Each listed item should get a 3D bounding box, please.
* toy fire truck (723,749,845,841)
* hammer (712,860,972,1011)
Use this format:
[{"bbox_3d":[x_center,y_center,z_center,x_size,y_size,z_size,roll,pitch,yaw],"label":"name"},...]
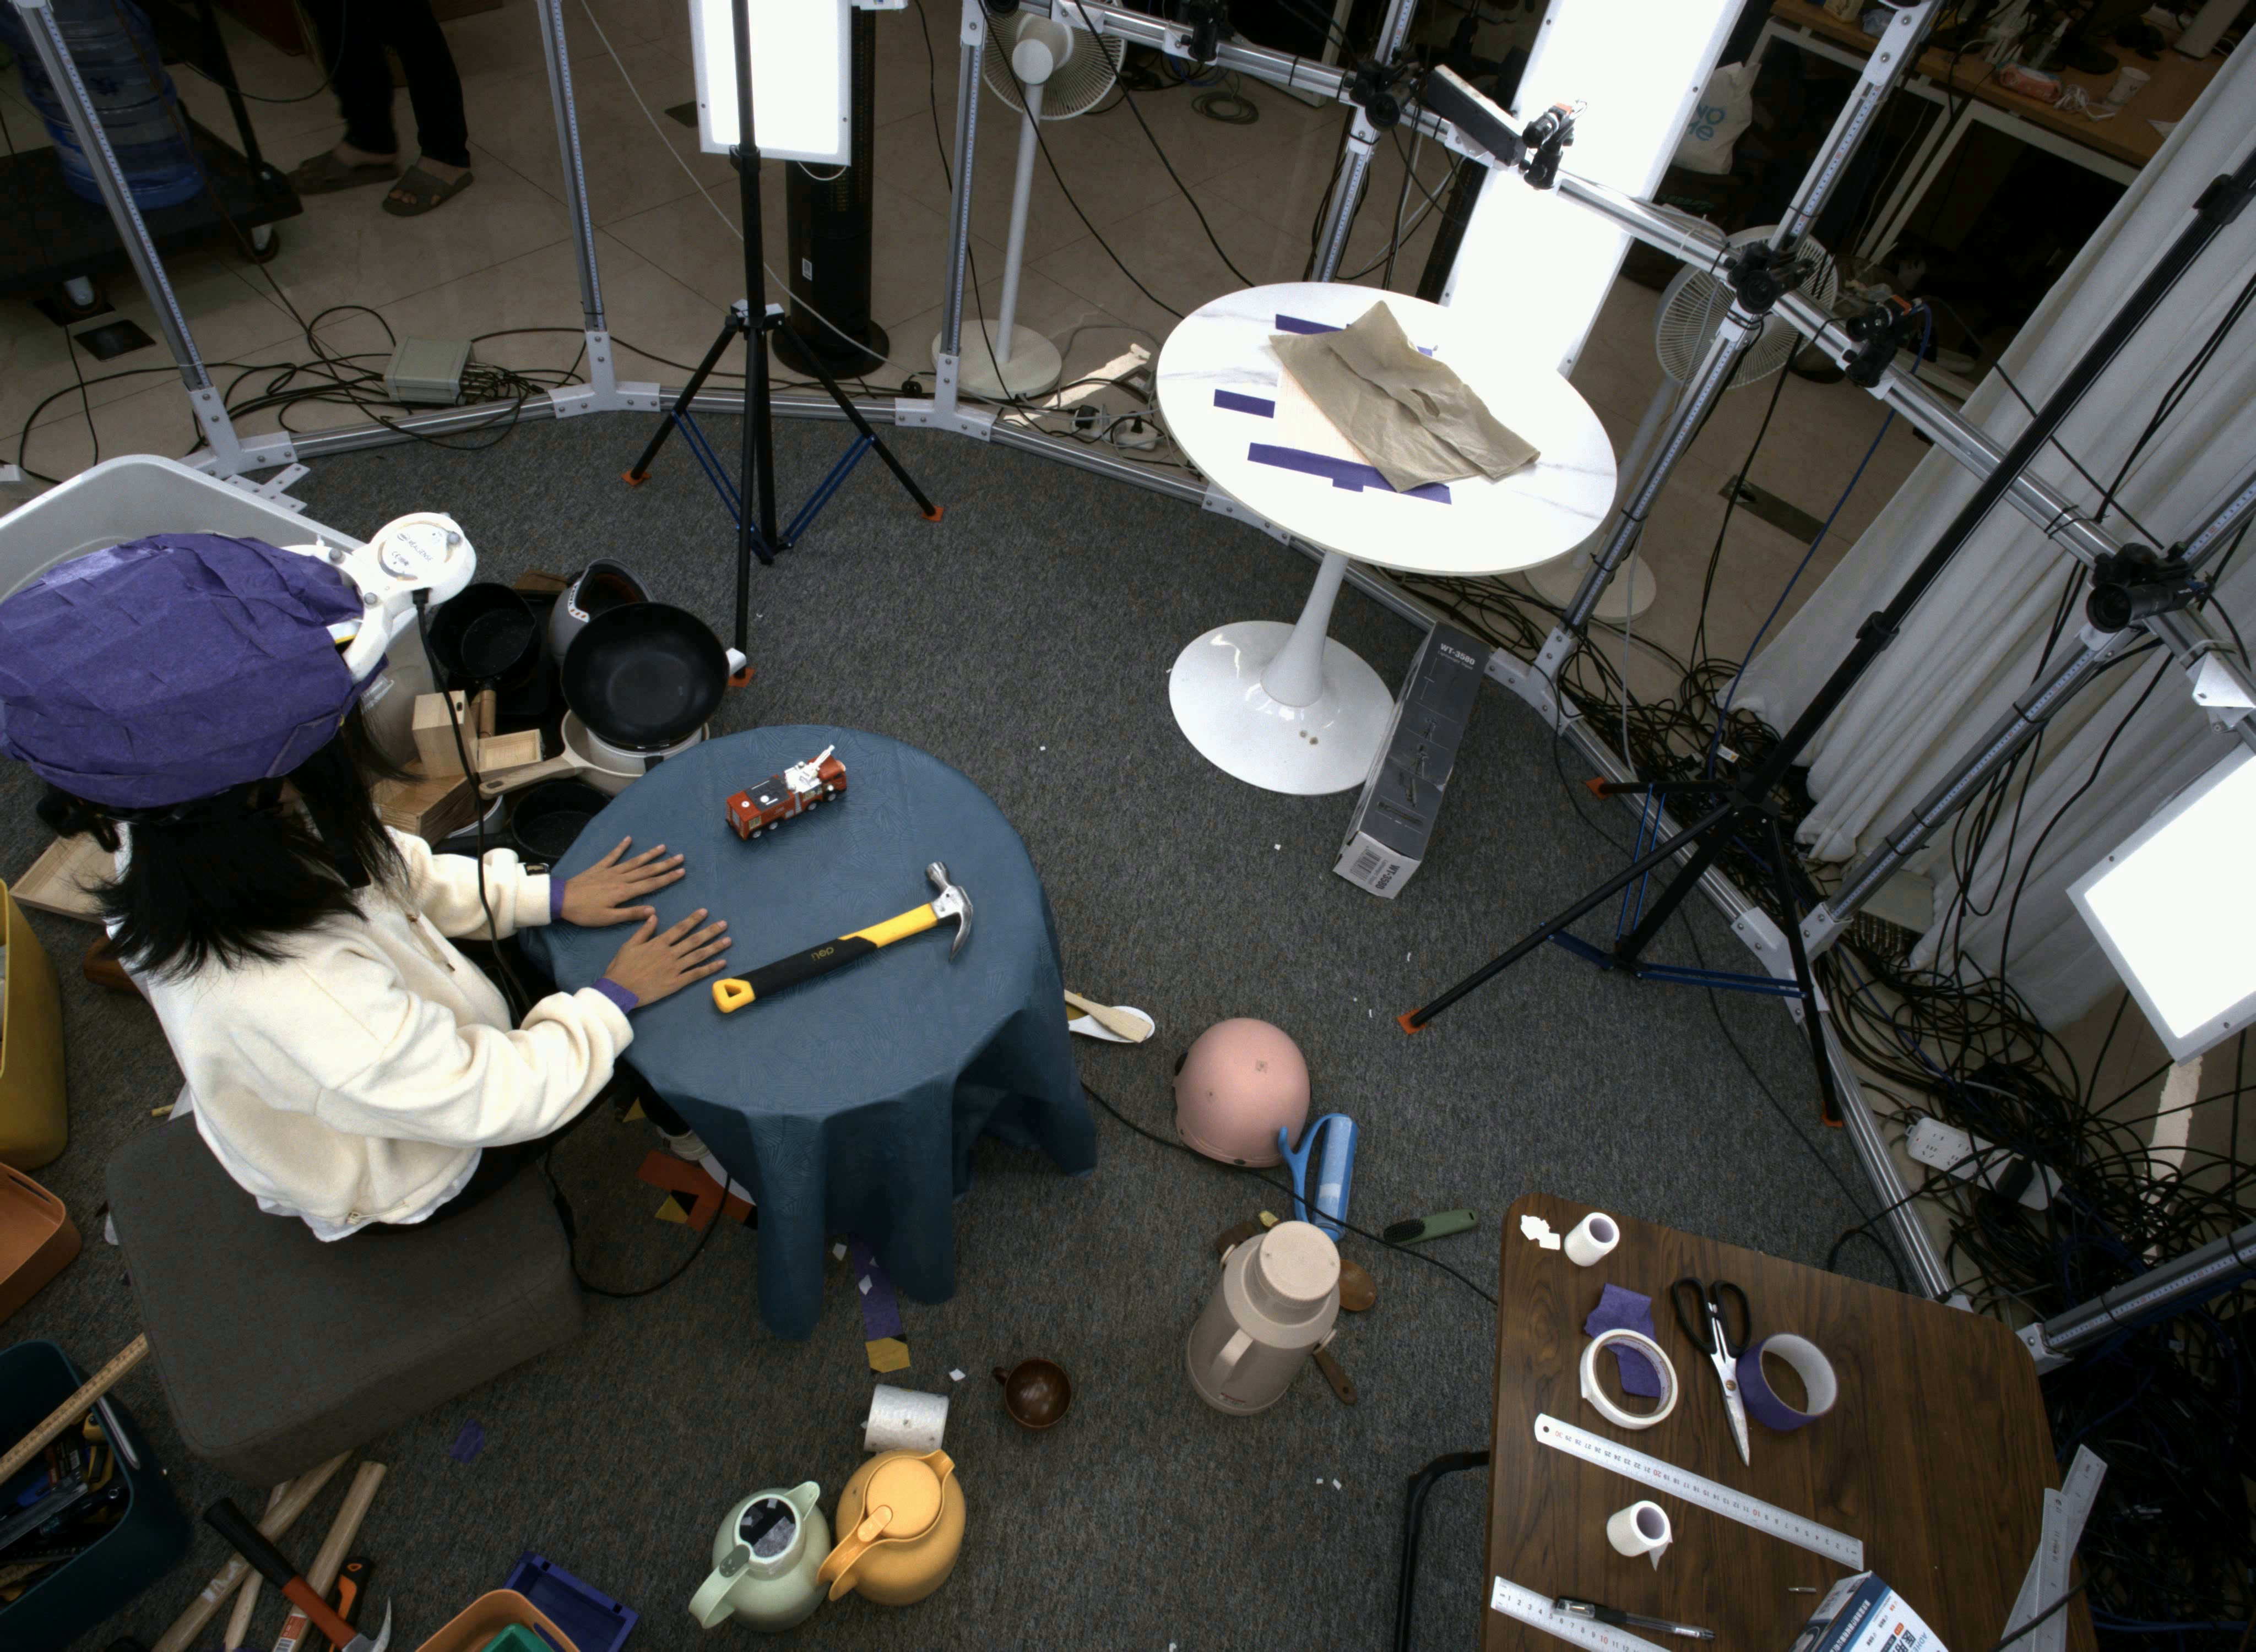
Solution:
[{"bbox_3d":[-0.451,-0.043,1.706,0.168,0.072,0.053,-32,65,-31],"label":"toy fire truck"},{"bbox_3d":[-0.348,0.147,1.604,0.340,0.033,0.128,-20,62,-28],"label":"hammer"}]
